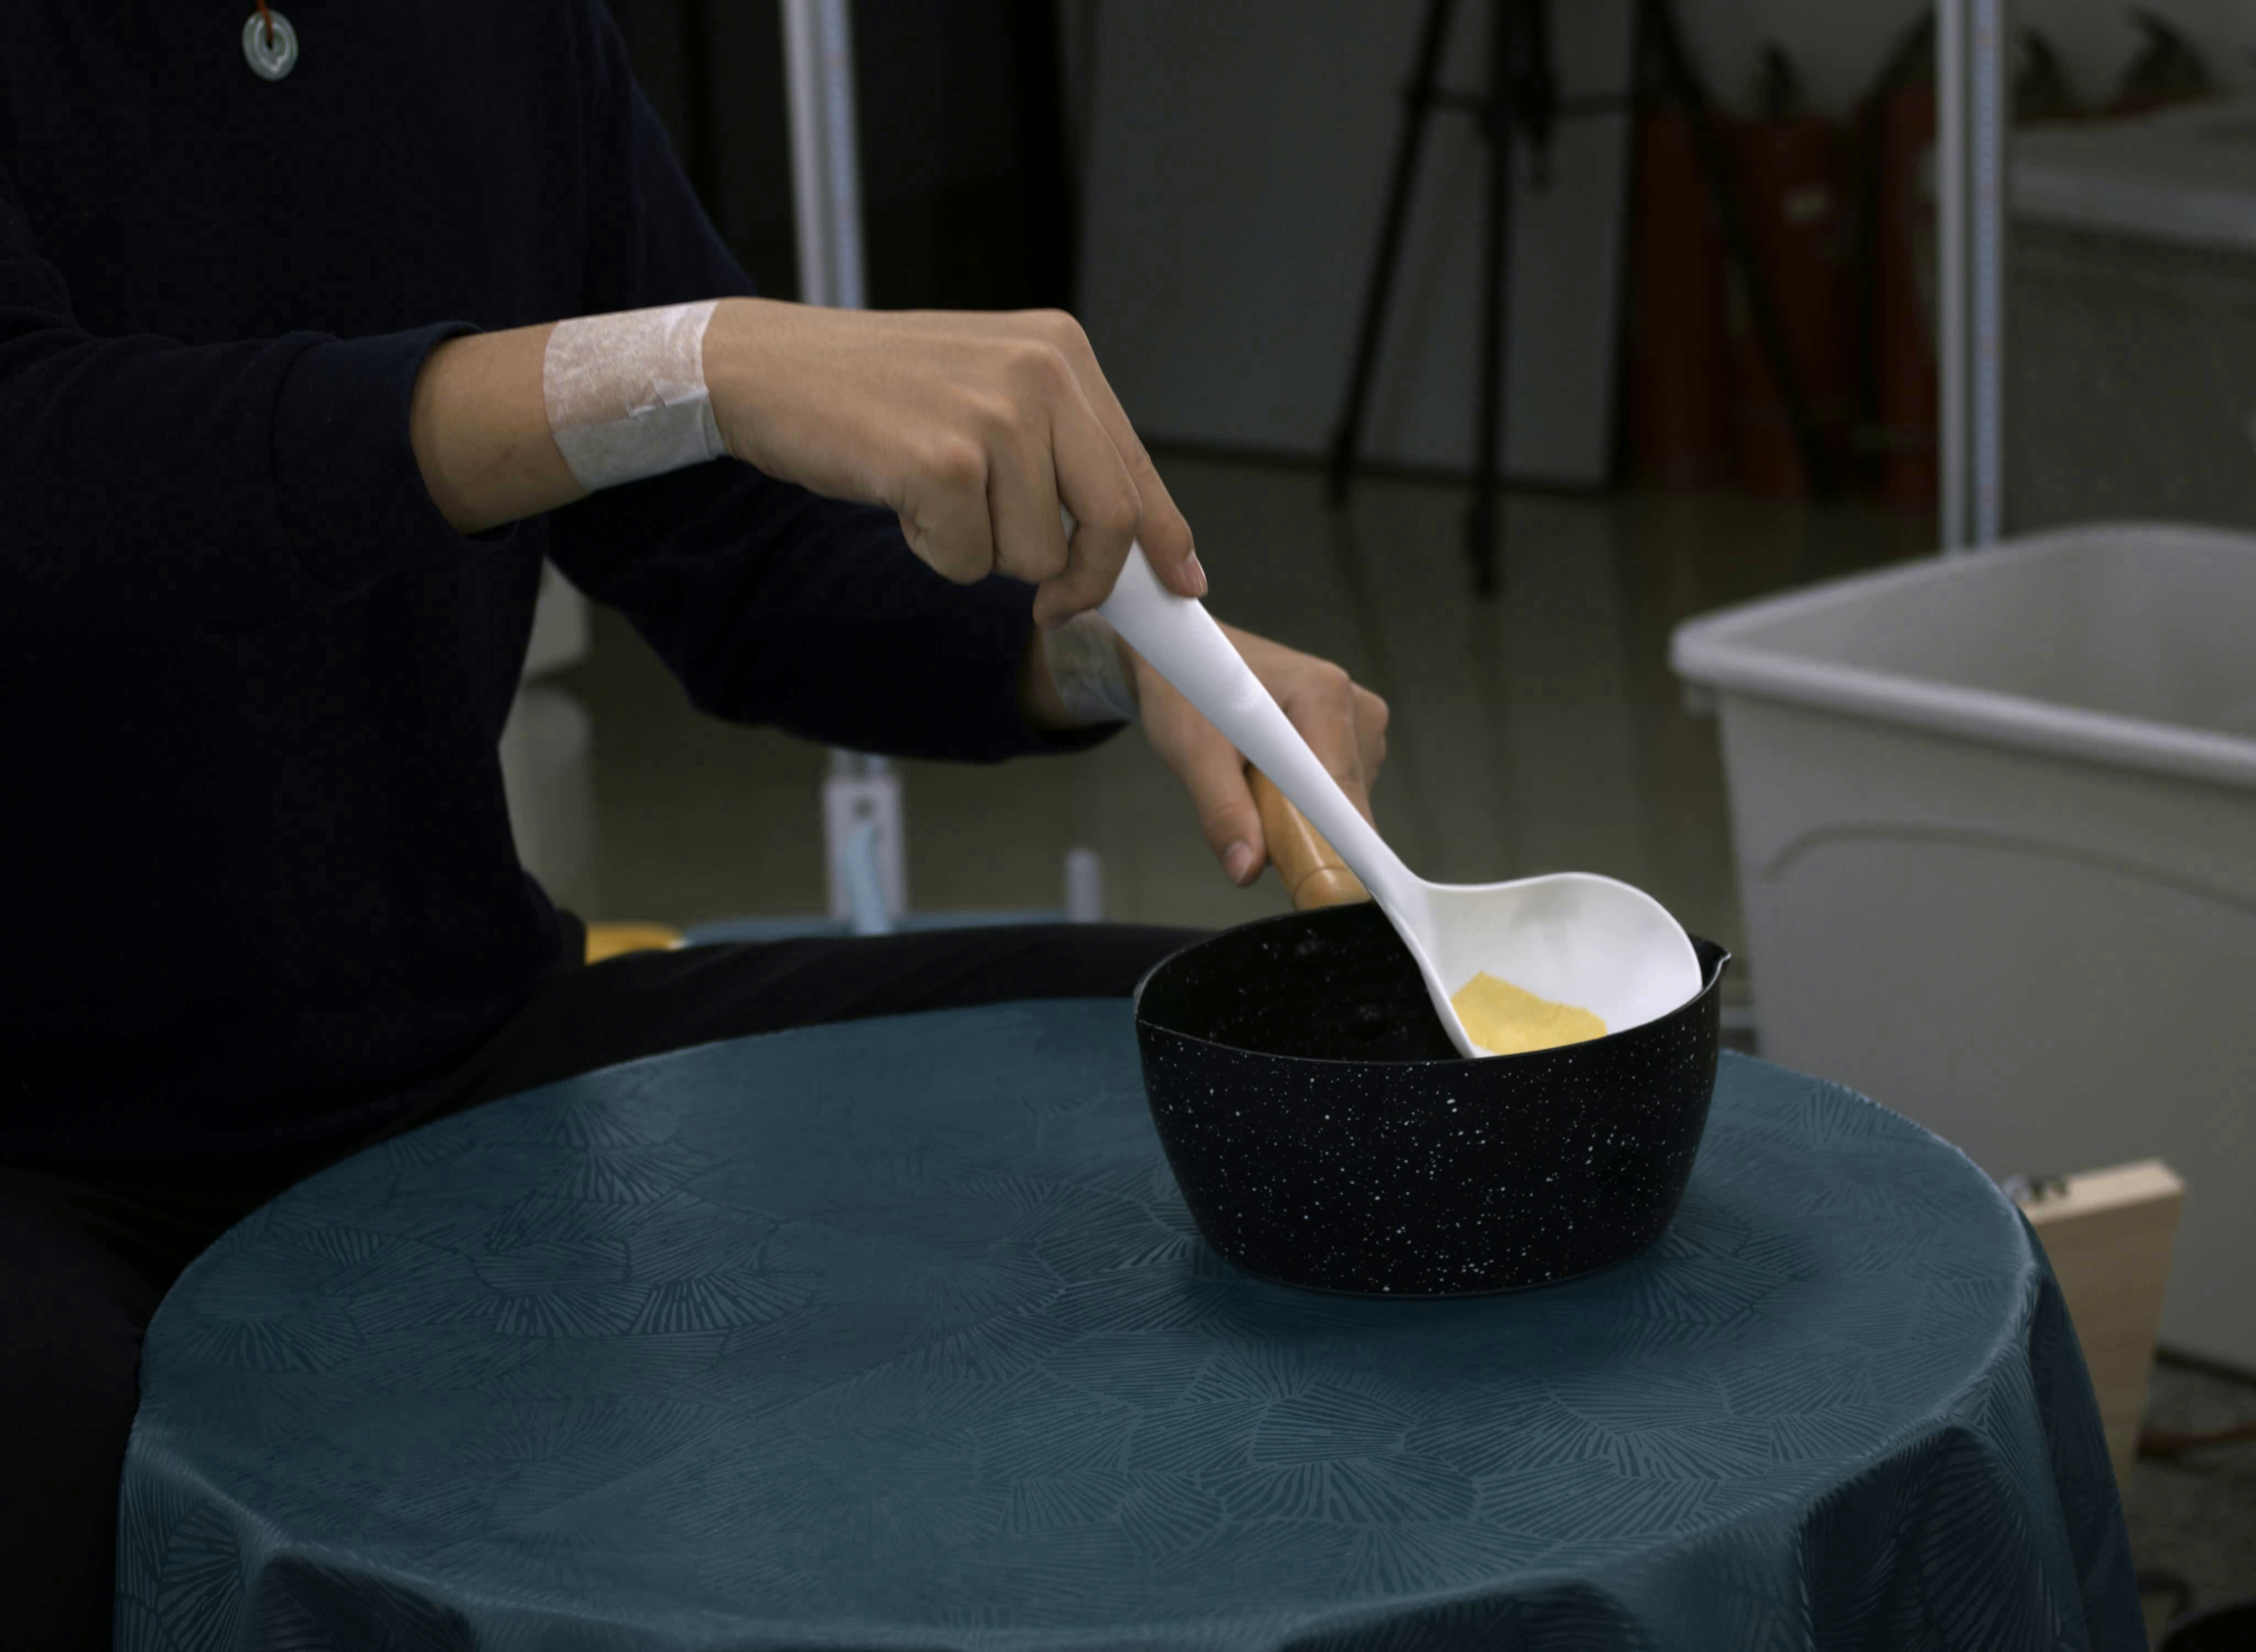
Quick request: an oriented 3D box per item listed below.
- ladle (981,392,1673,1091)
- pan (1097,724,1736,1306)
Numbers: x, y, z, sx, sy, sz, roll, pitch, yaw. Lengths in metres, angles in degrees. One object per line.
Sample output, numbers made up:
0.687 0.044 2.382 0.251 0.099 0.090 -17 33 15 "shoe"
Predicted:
0.063 -0.016 1.623 0.070 0.291 0.090 -6 40 49 "ladle"
0.079 0.057 1.779 0.204 0.109 0.345 -7 16 -10 "pan"
